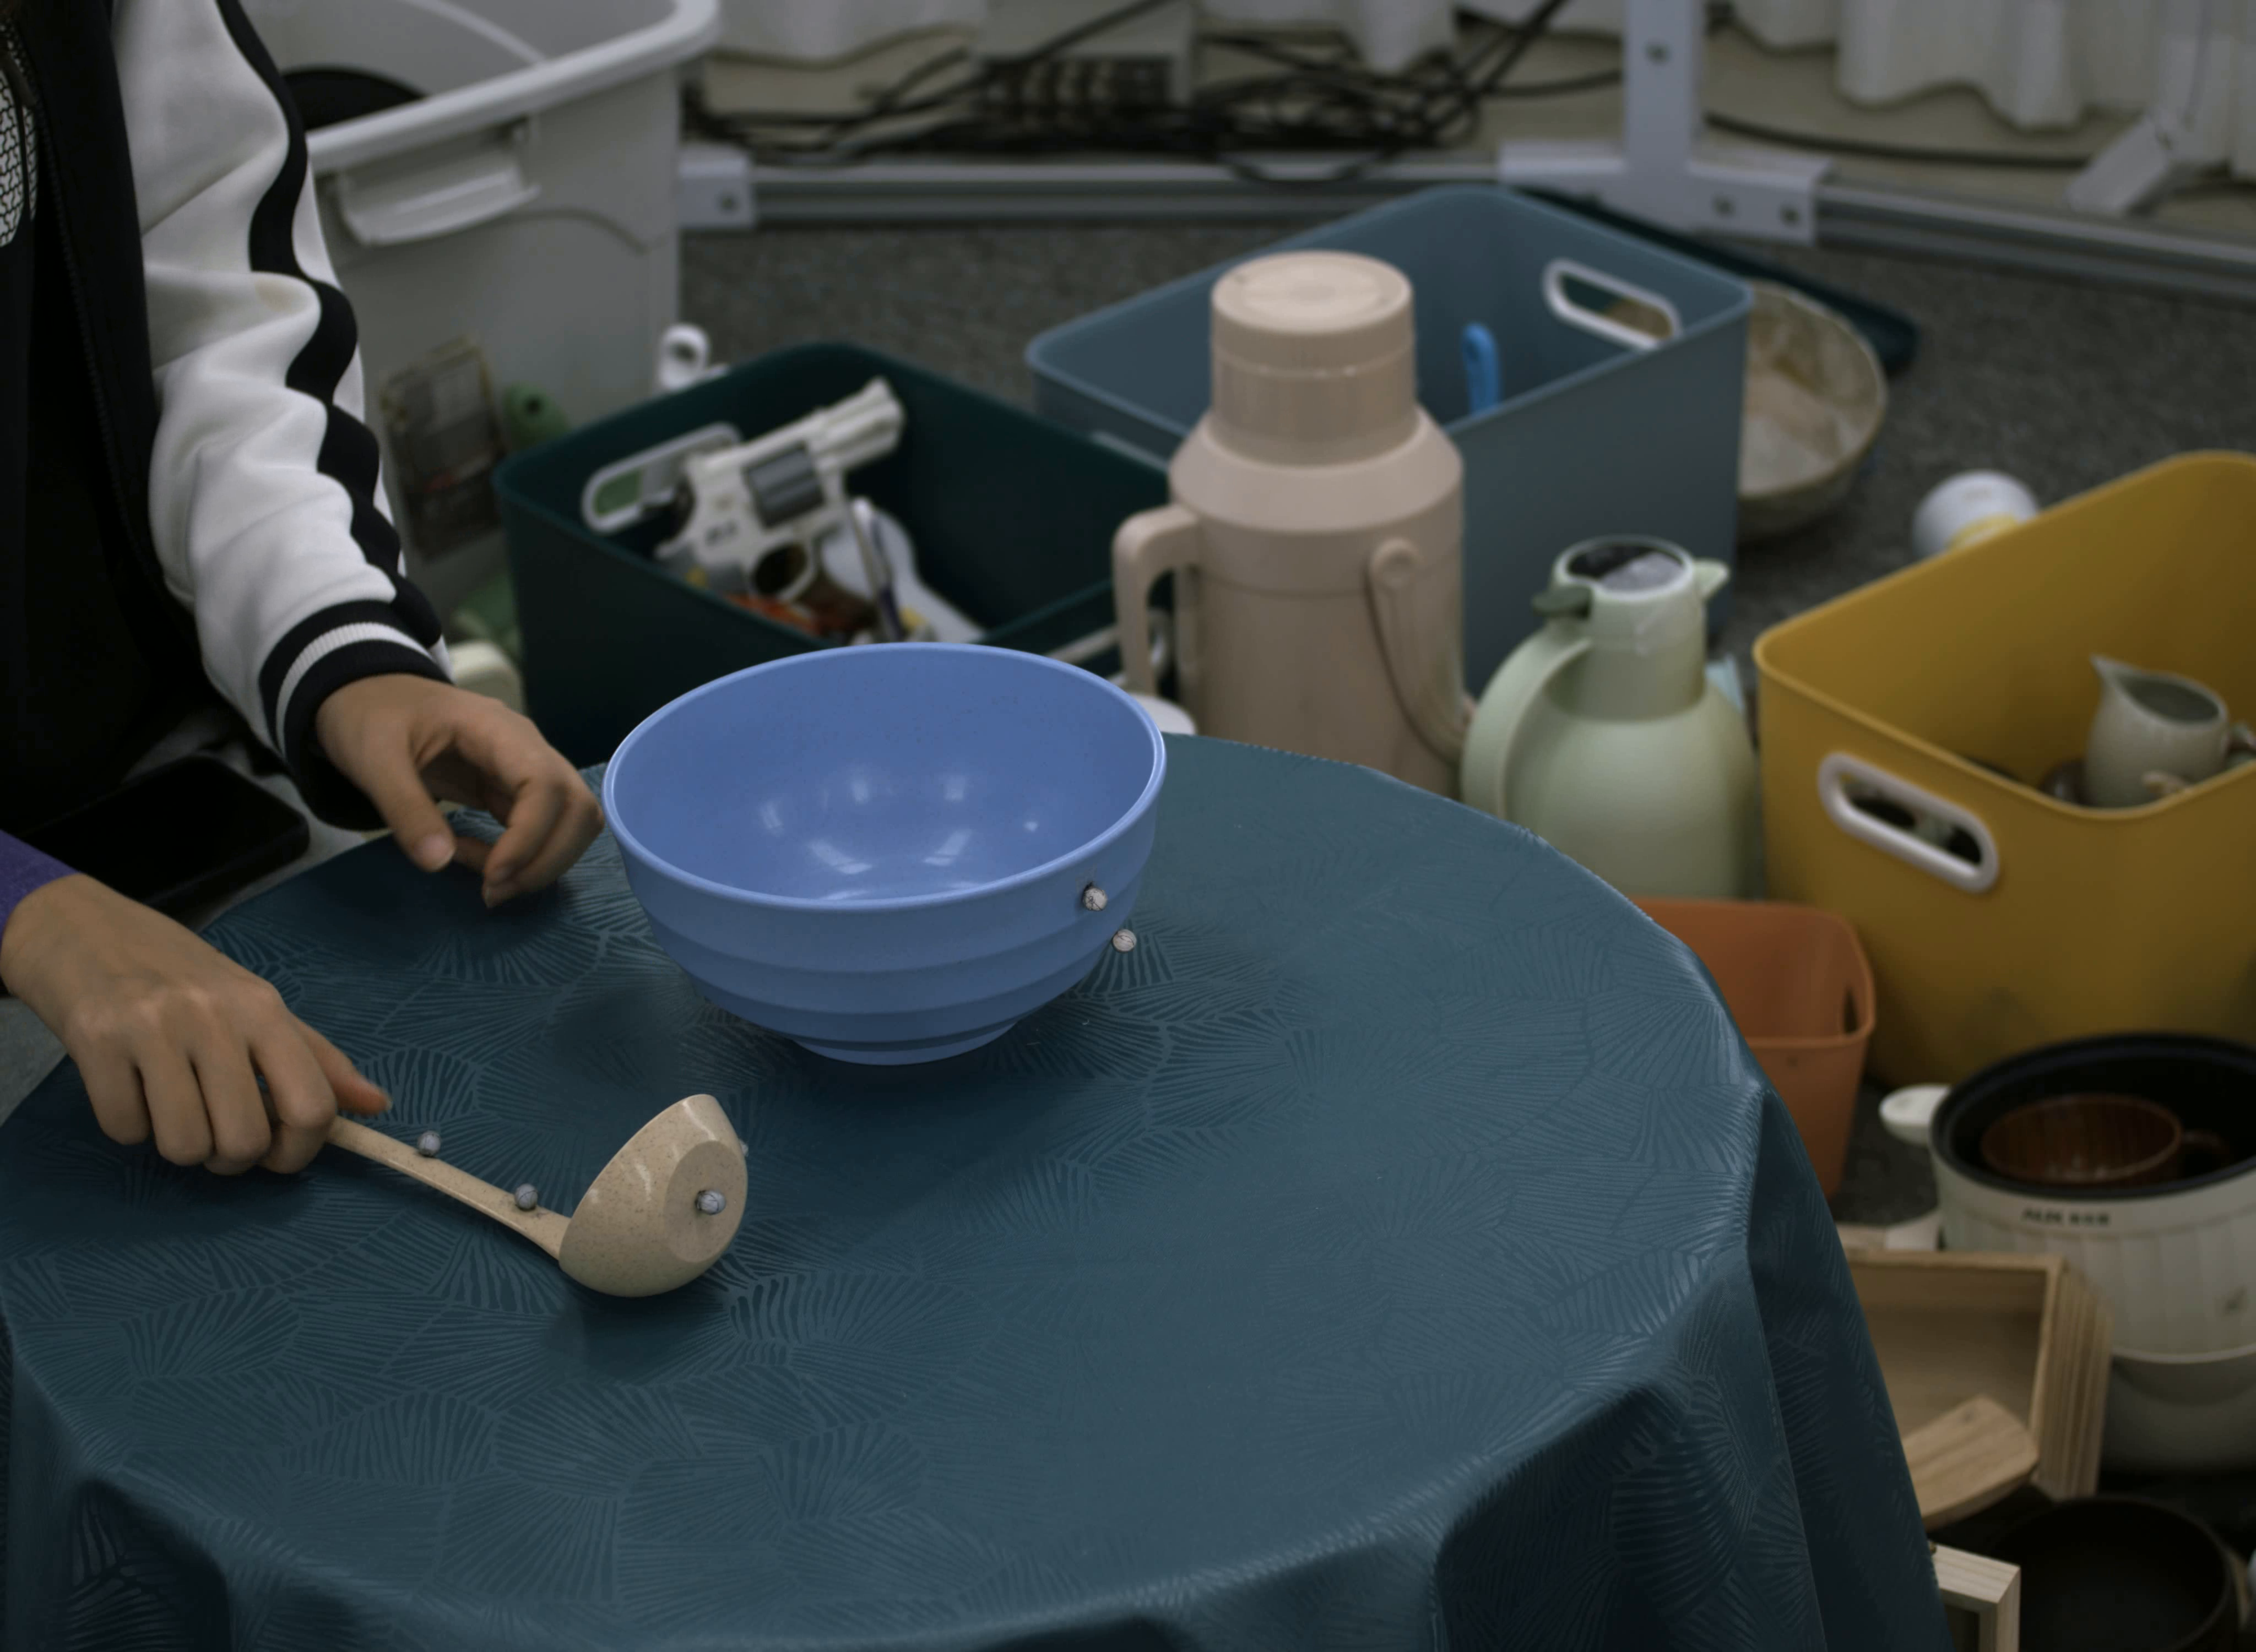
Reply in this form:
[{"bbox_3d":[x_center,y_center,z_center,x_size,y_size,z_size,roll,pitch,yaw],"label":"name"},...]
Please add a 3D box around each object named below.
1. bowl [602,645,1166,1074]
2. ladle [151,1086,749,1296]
[{"bbox_3d":[-0.081,0.023,1.964,0.195,0.094,0.199,-3,28,2],"label":"bowl"},{"bbox_3d":[-0.235,0.094,1.861,0.253,0.072,0.073,16,31,33],"label":"ladle"}]
